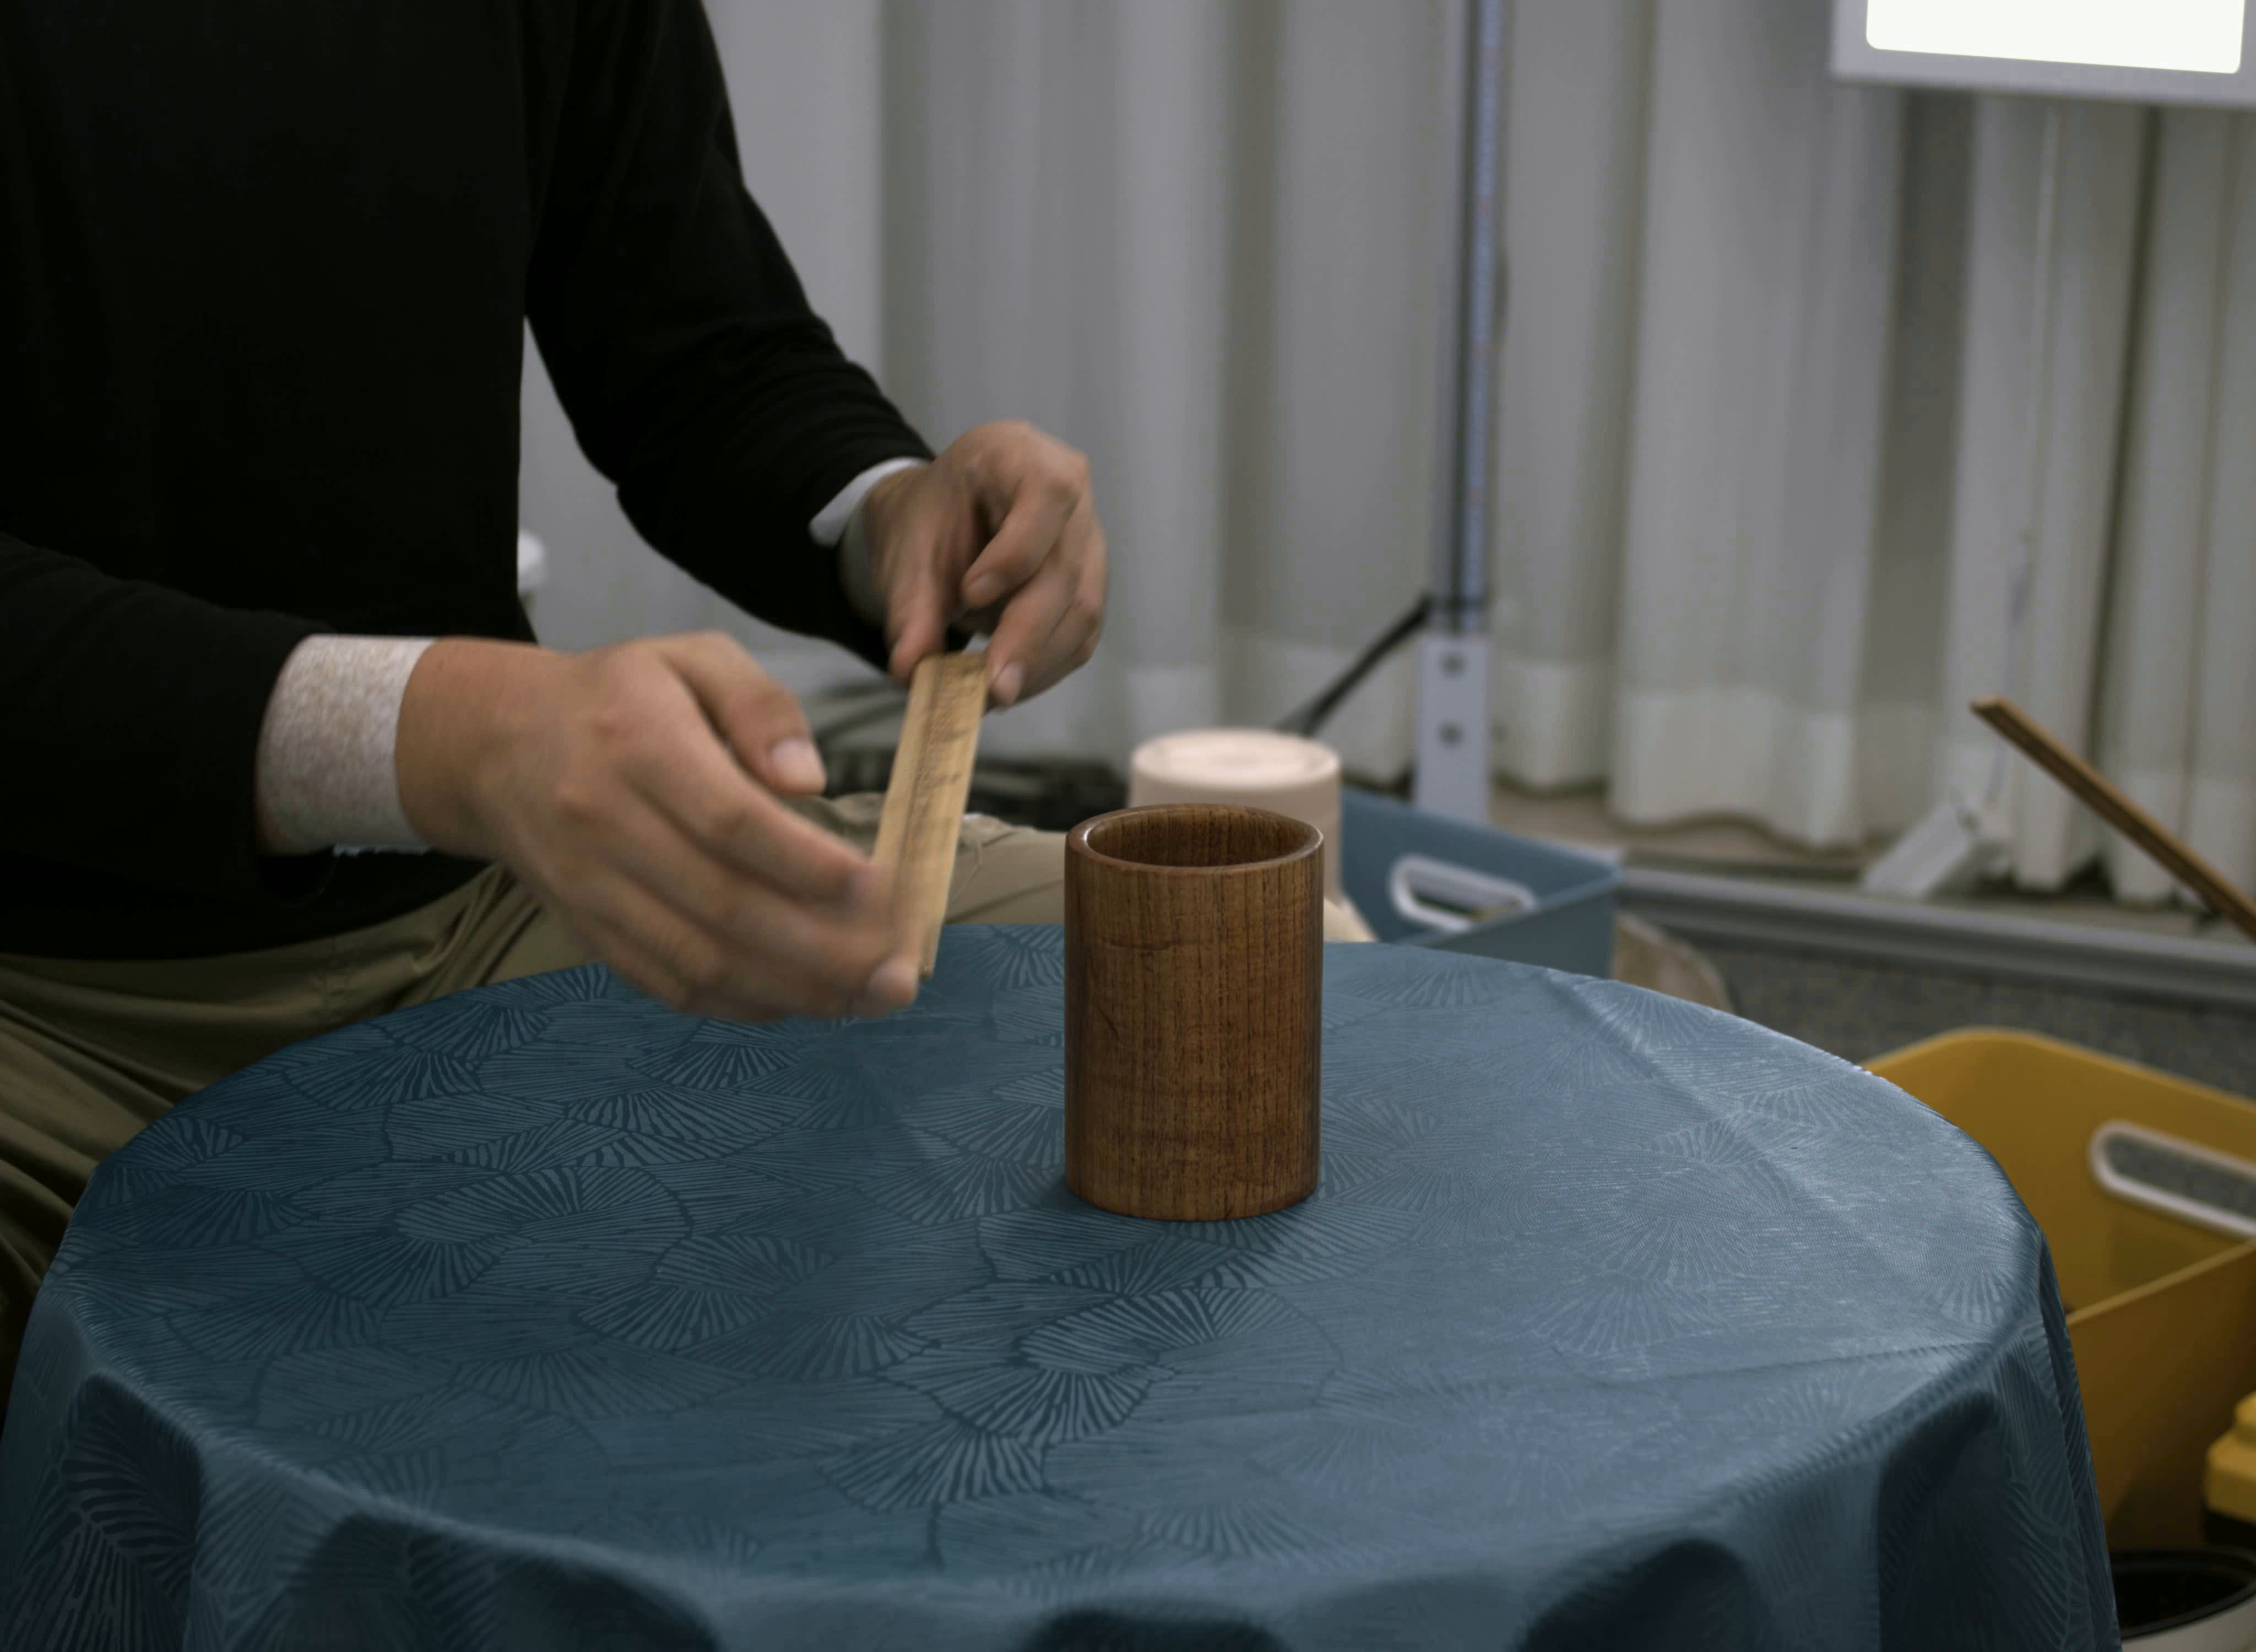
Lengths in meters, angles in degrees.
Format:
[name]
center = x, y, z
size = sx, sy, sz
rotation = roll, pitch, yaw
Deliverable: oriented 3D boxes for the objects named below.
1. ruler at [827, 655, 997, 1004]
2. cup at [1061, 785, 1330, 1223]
[ruler]
center = -0.063, -0.006, 1.581
size = 0.027, 0.022, 0.330
rotation = -1, 17, 3
[cup]
center = 0.020, 0.054, 1.614
size = 0.087, 0.119, 0.087
rotation = 1, 15, 0
